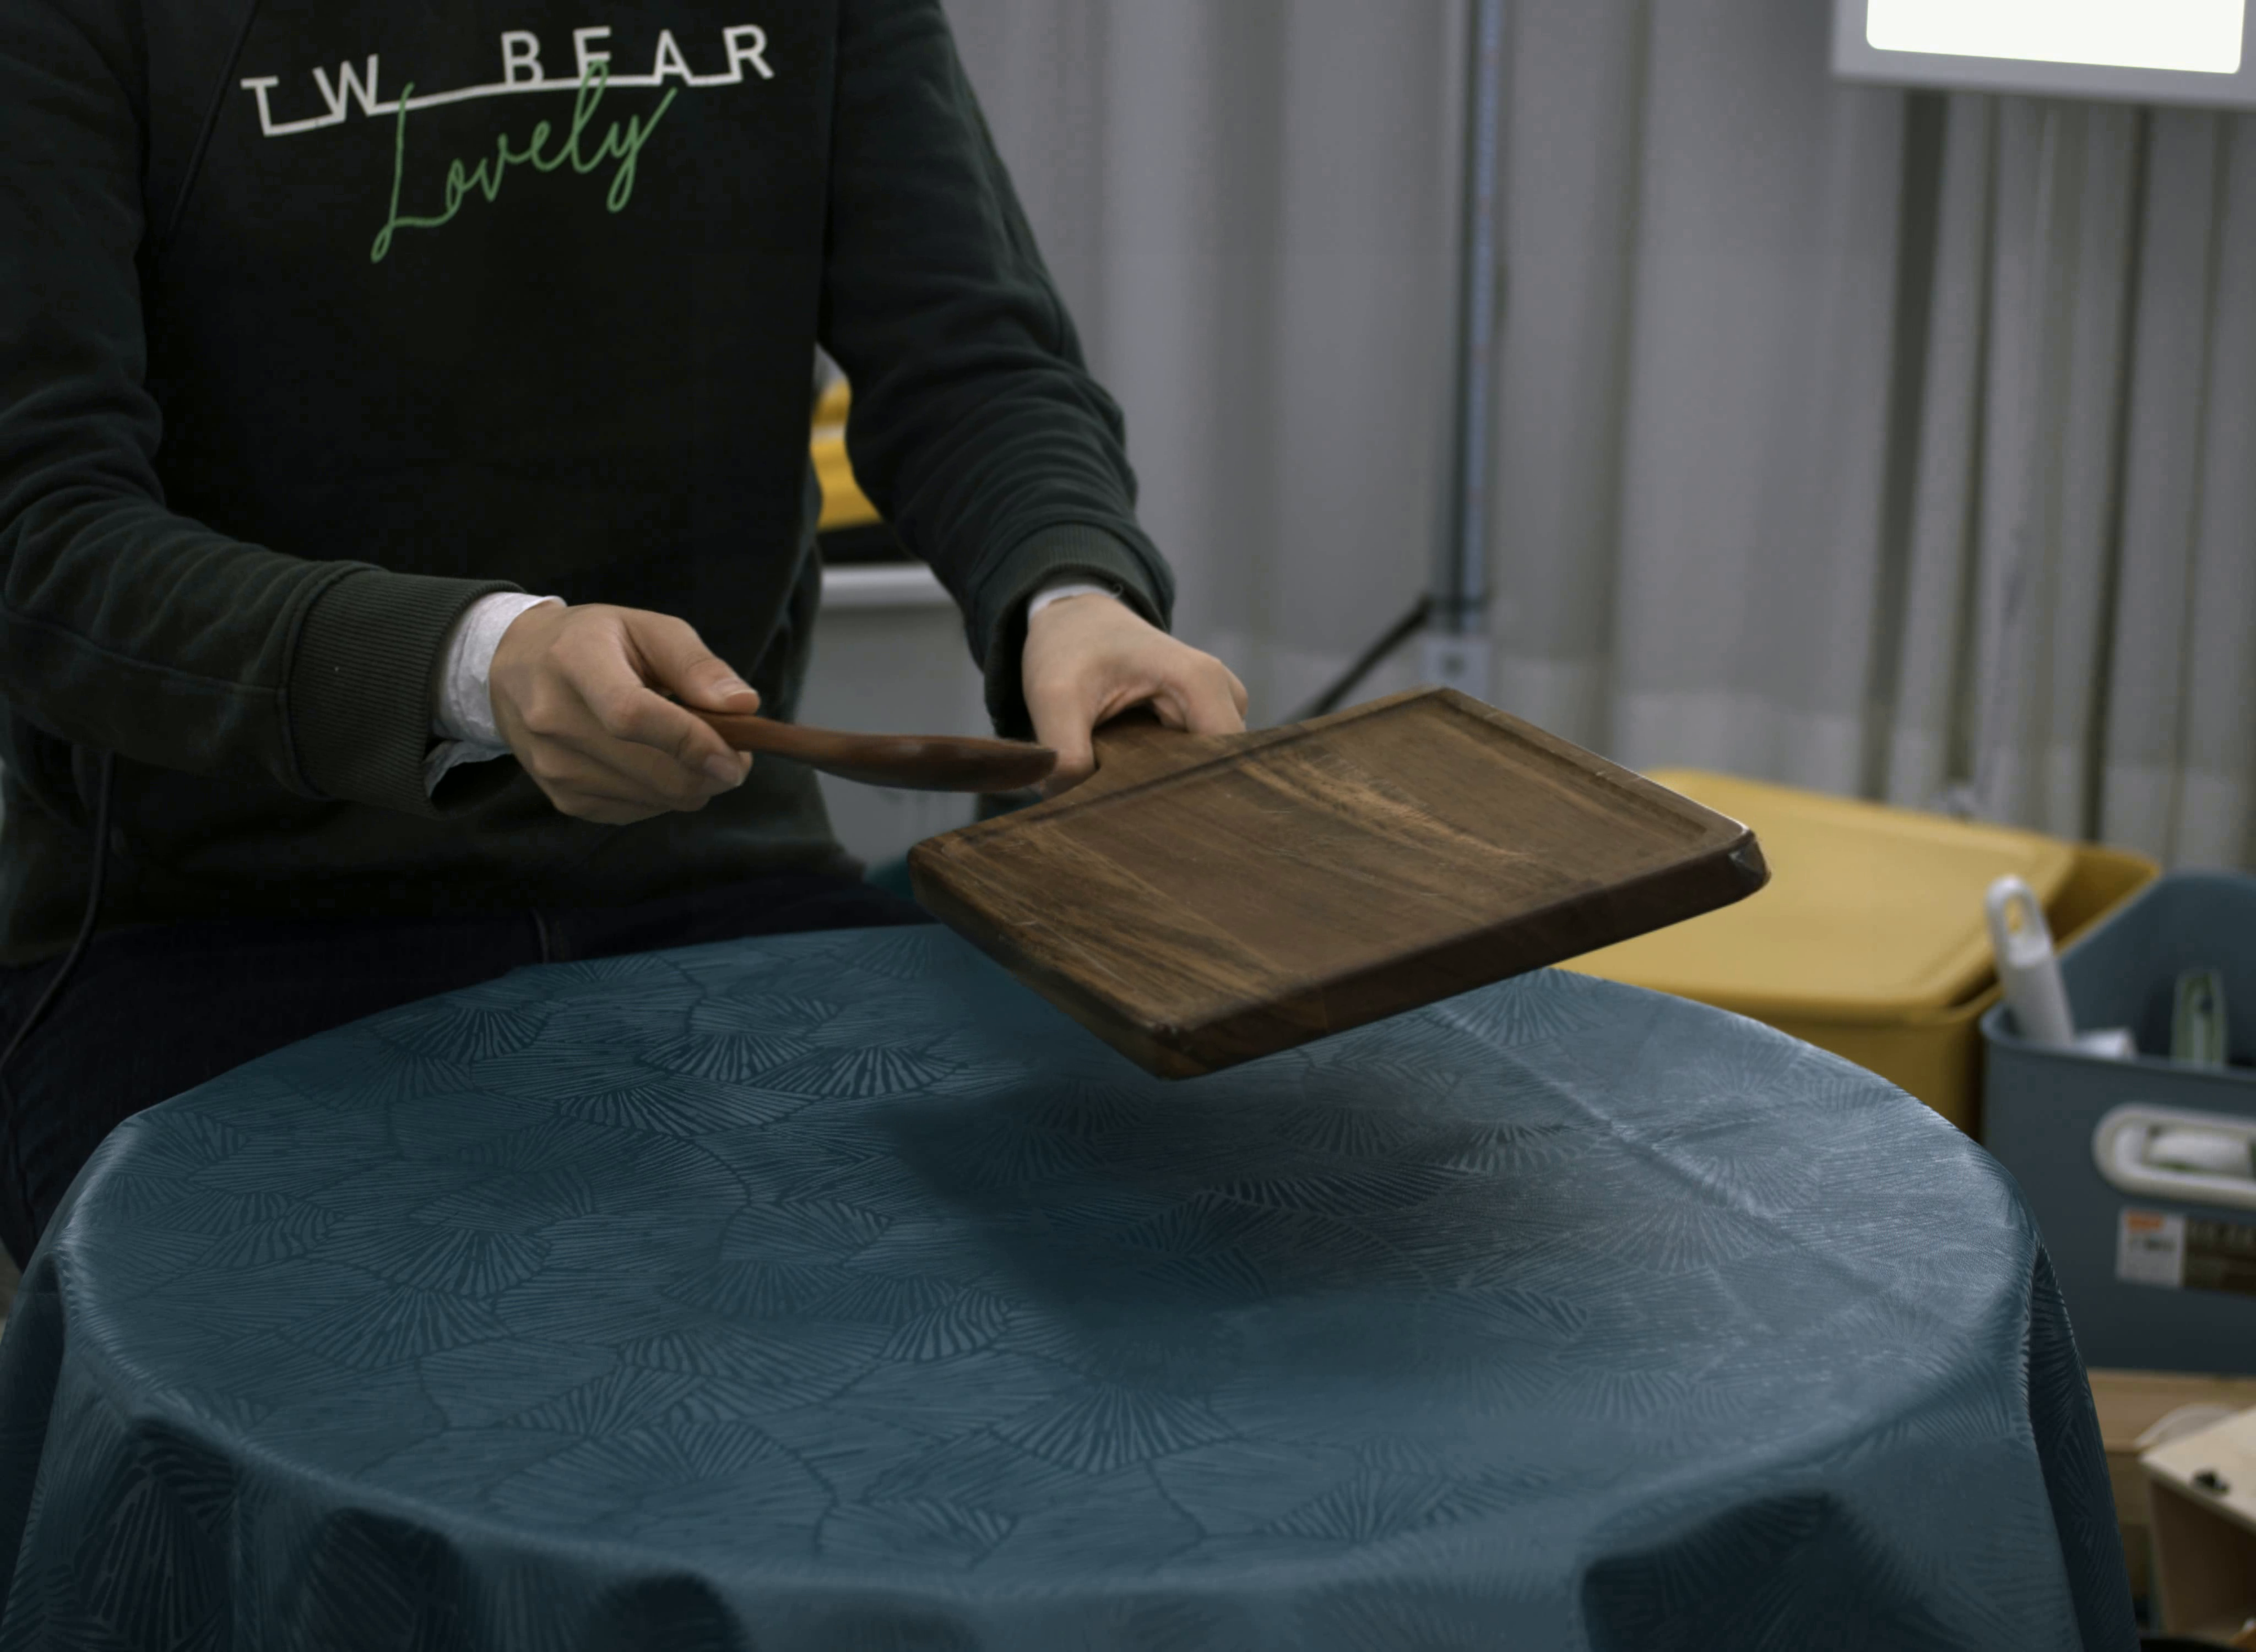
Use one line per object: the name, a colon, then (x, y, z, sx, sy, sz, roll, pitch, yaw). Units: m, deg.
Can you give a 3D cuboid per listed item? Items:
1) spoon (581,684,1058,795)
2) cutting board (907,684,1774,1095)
spoon: (-0.102, -0.026, 1.620, 0.076, 0.017, 0.213, -1, 7, -40)
cutting board: (0.043, 0.004, 1.670, 0.201, 0.023, 0.348, -19, 18, -15)
